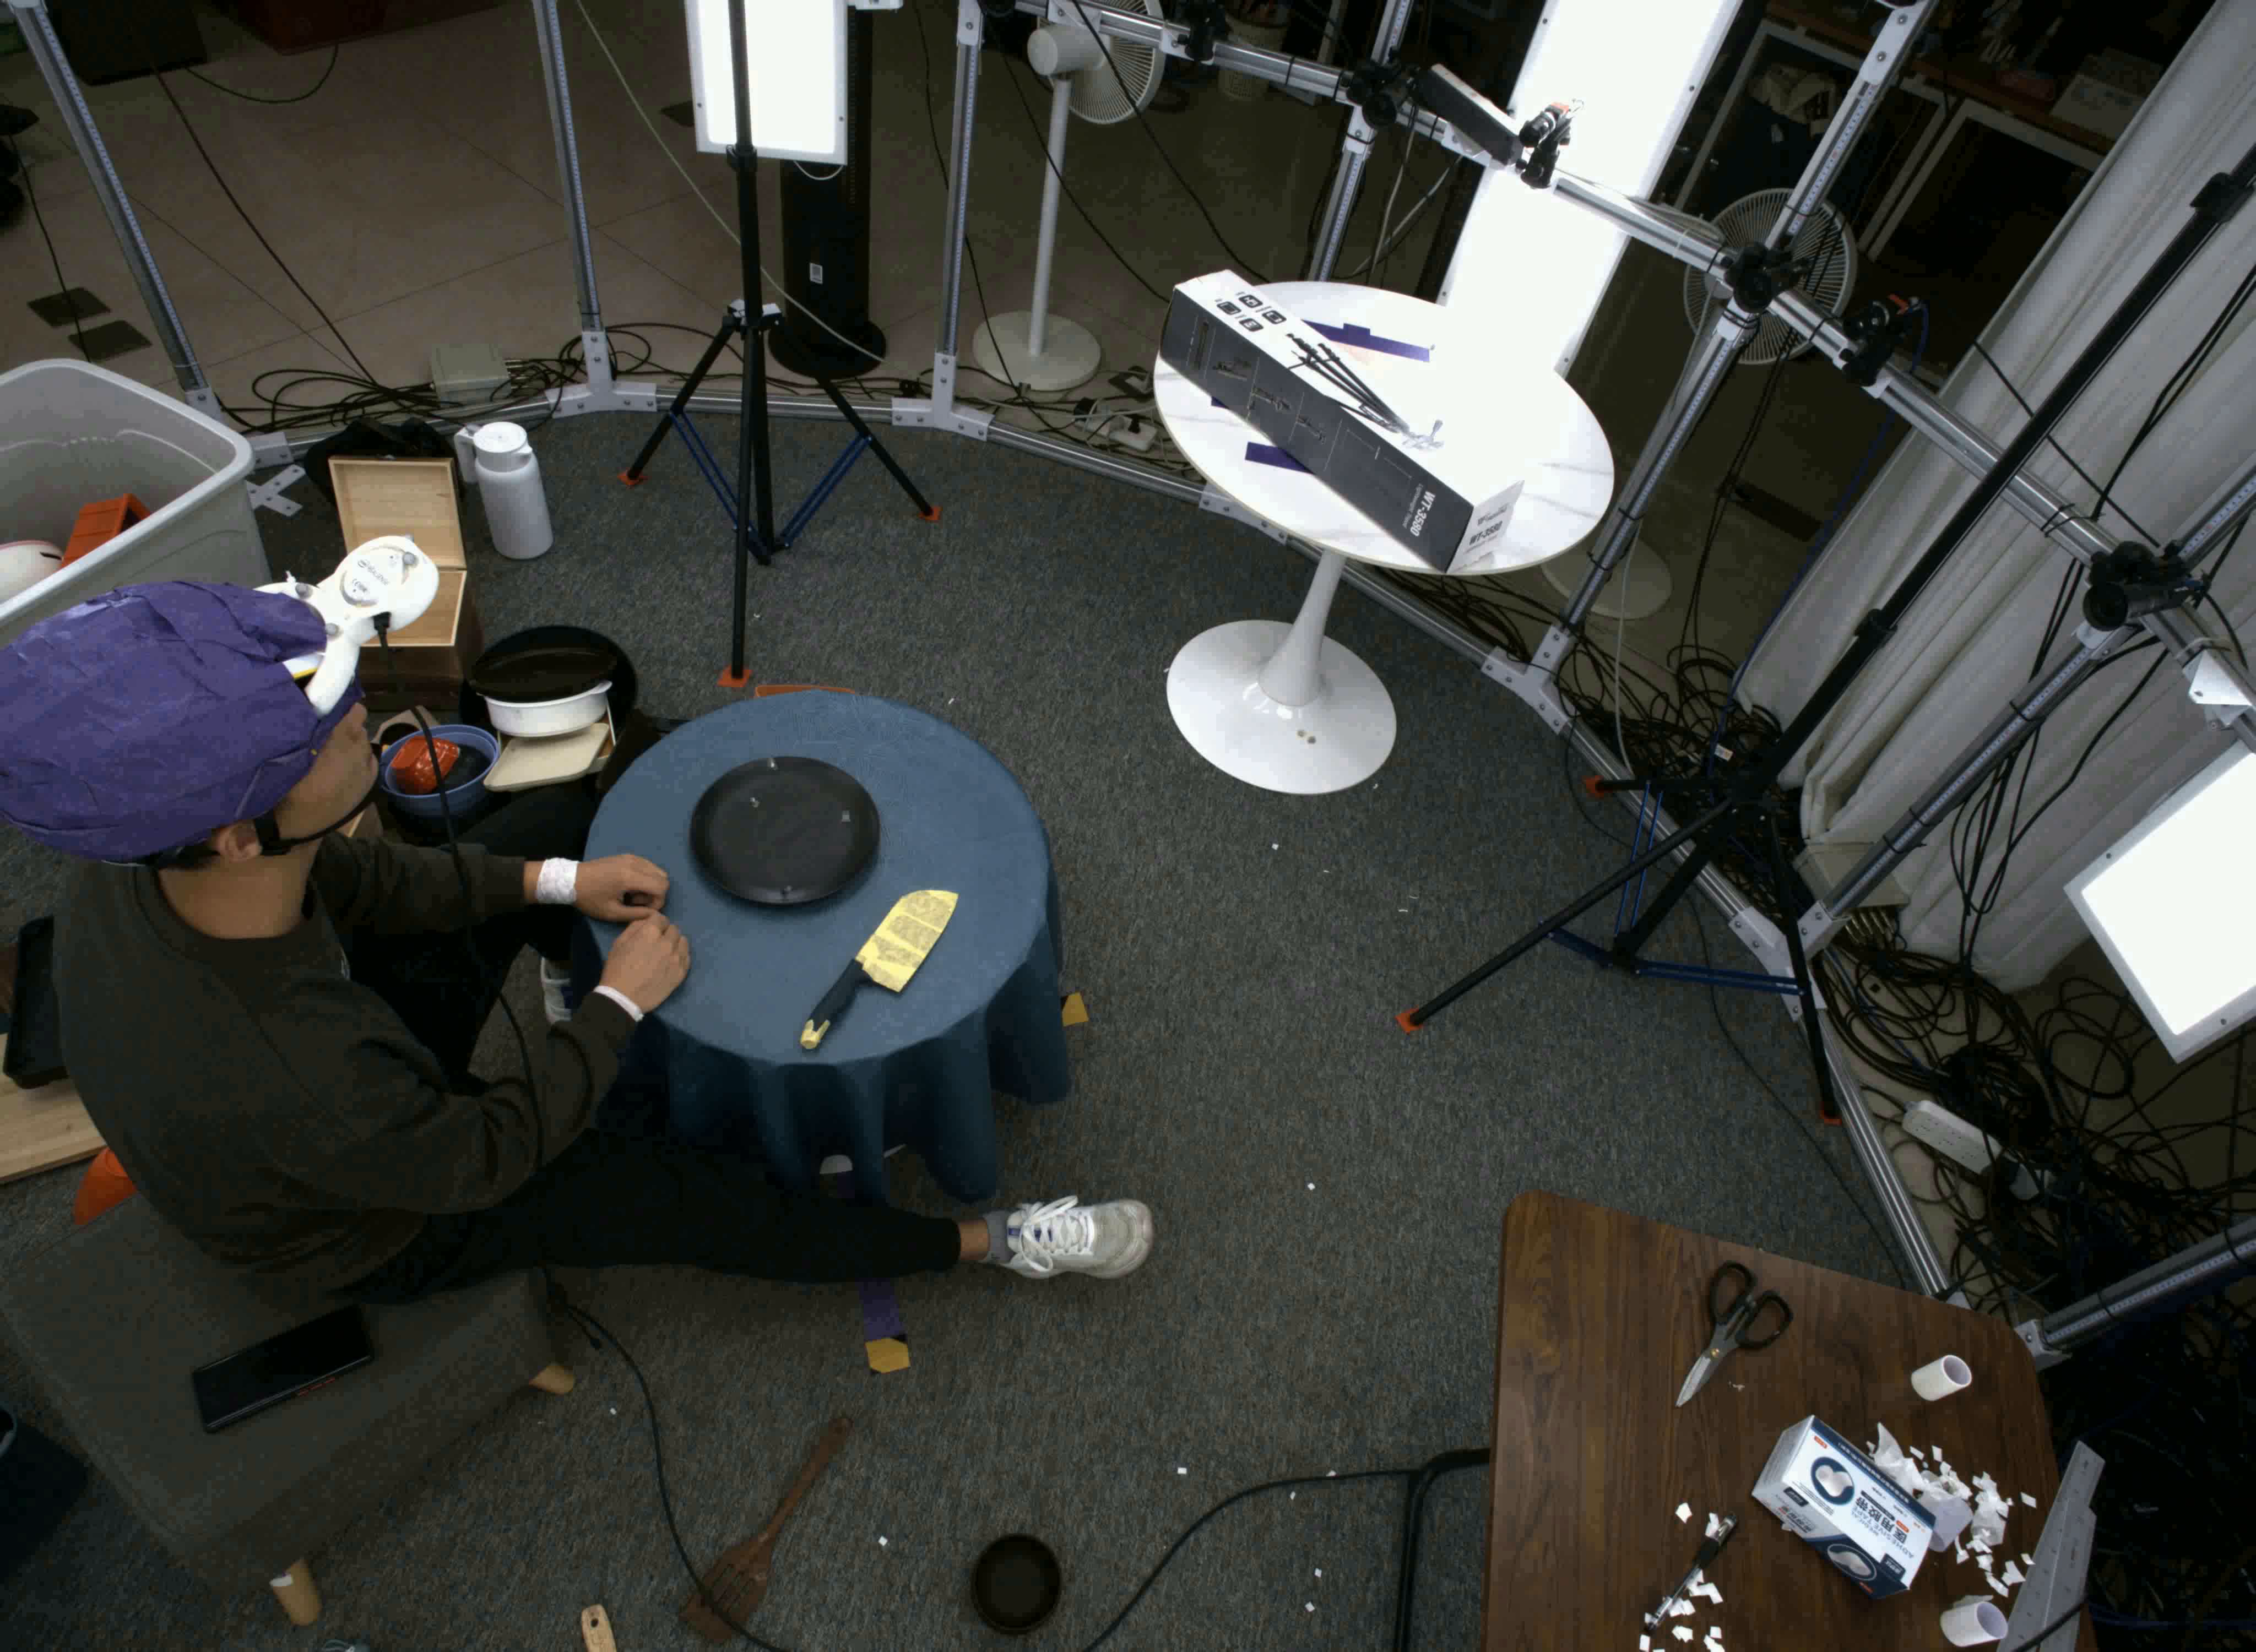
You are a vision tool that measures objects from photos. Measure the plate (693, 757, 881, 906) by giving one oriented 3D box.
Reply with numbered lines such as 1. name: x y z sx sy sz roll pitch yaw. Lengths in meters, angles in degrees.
1. plate: -0.448 0.007 1.709 0.244 0.024 0.240 8 53 -9

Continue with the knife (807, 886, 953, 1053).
1. knife: -0.305 0.173 1.628 0.079 0.028 0.288 27 51 9
